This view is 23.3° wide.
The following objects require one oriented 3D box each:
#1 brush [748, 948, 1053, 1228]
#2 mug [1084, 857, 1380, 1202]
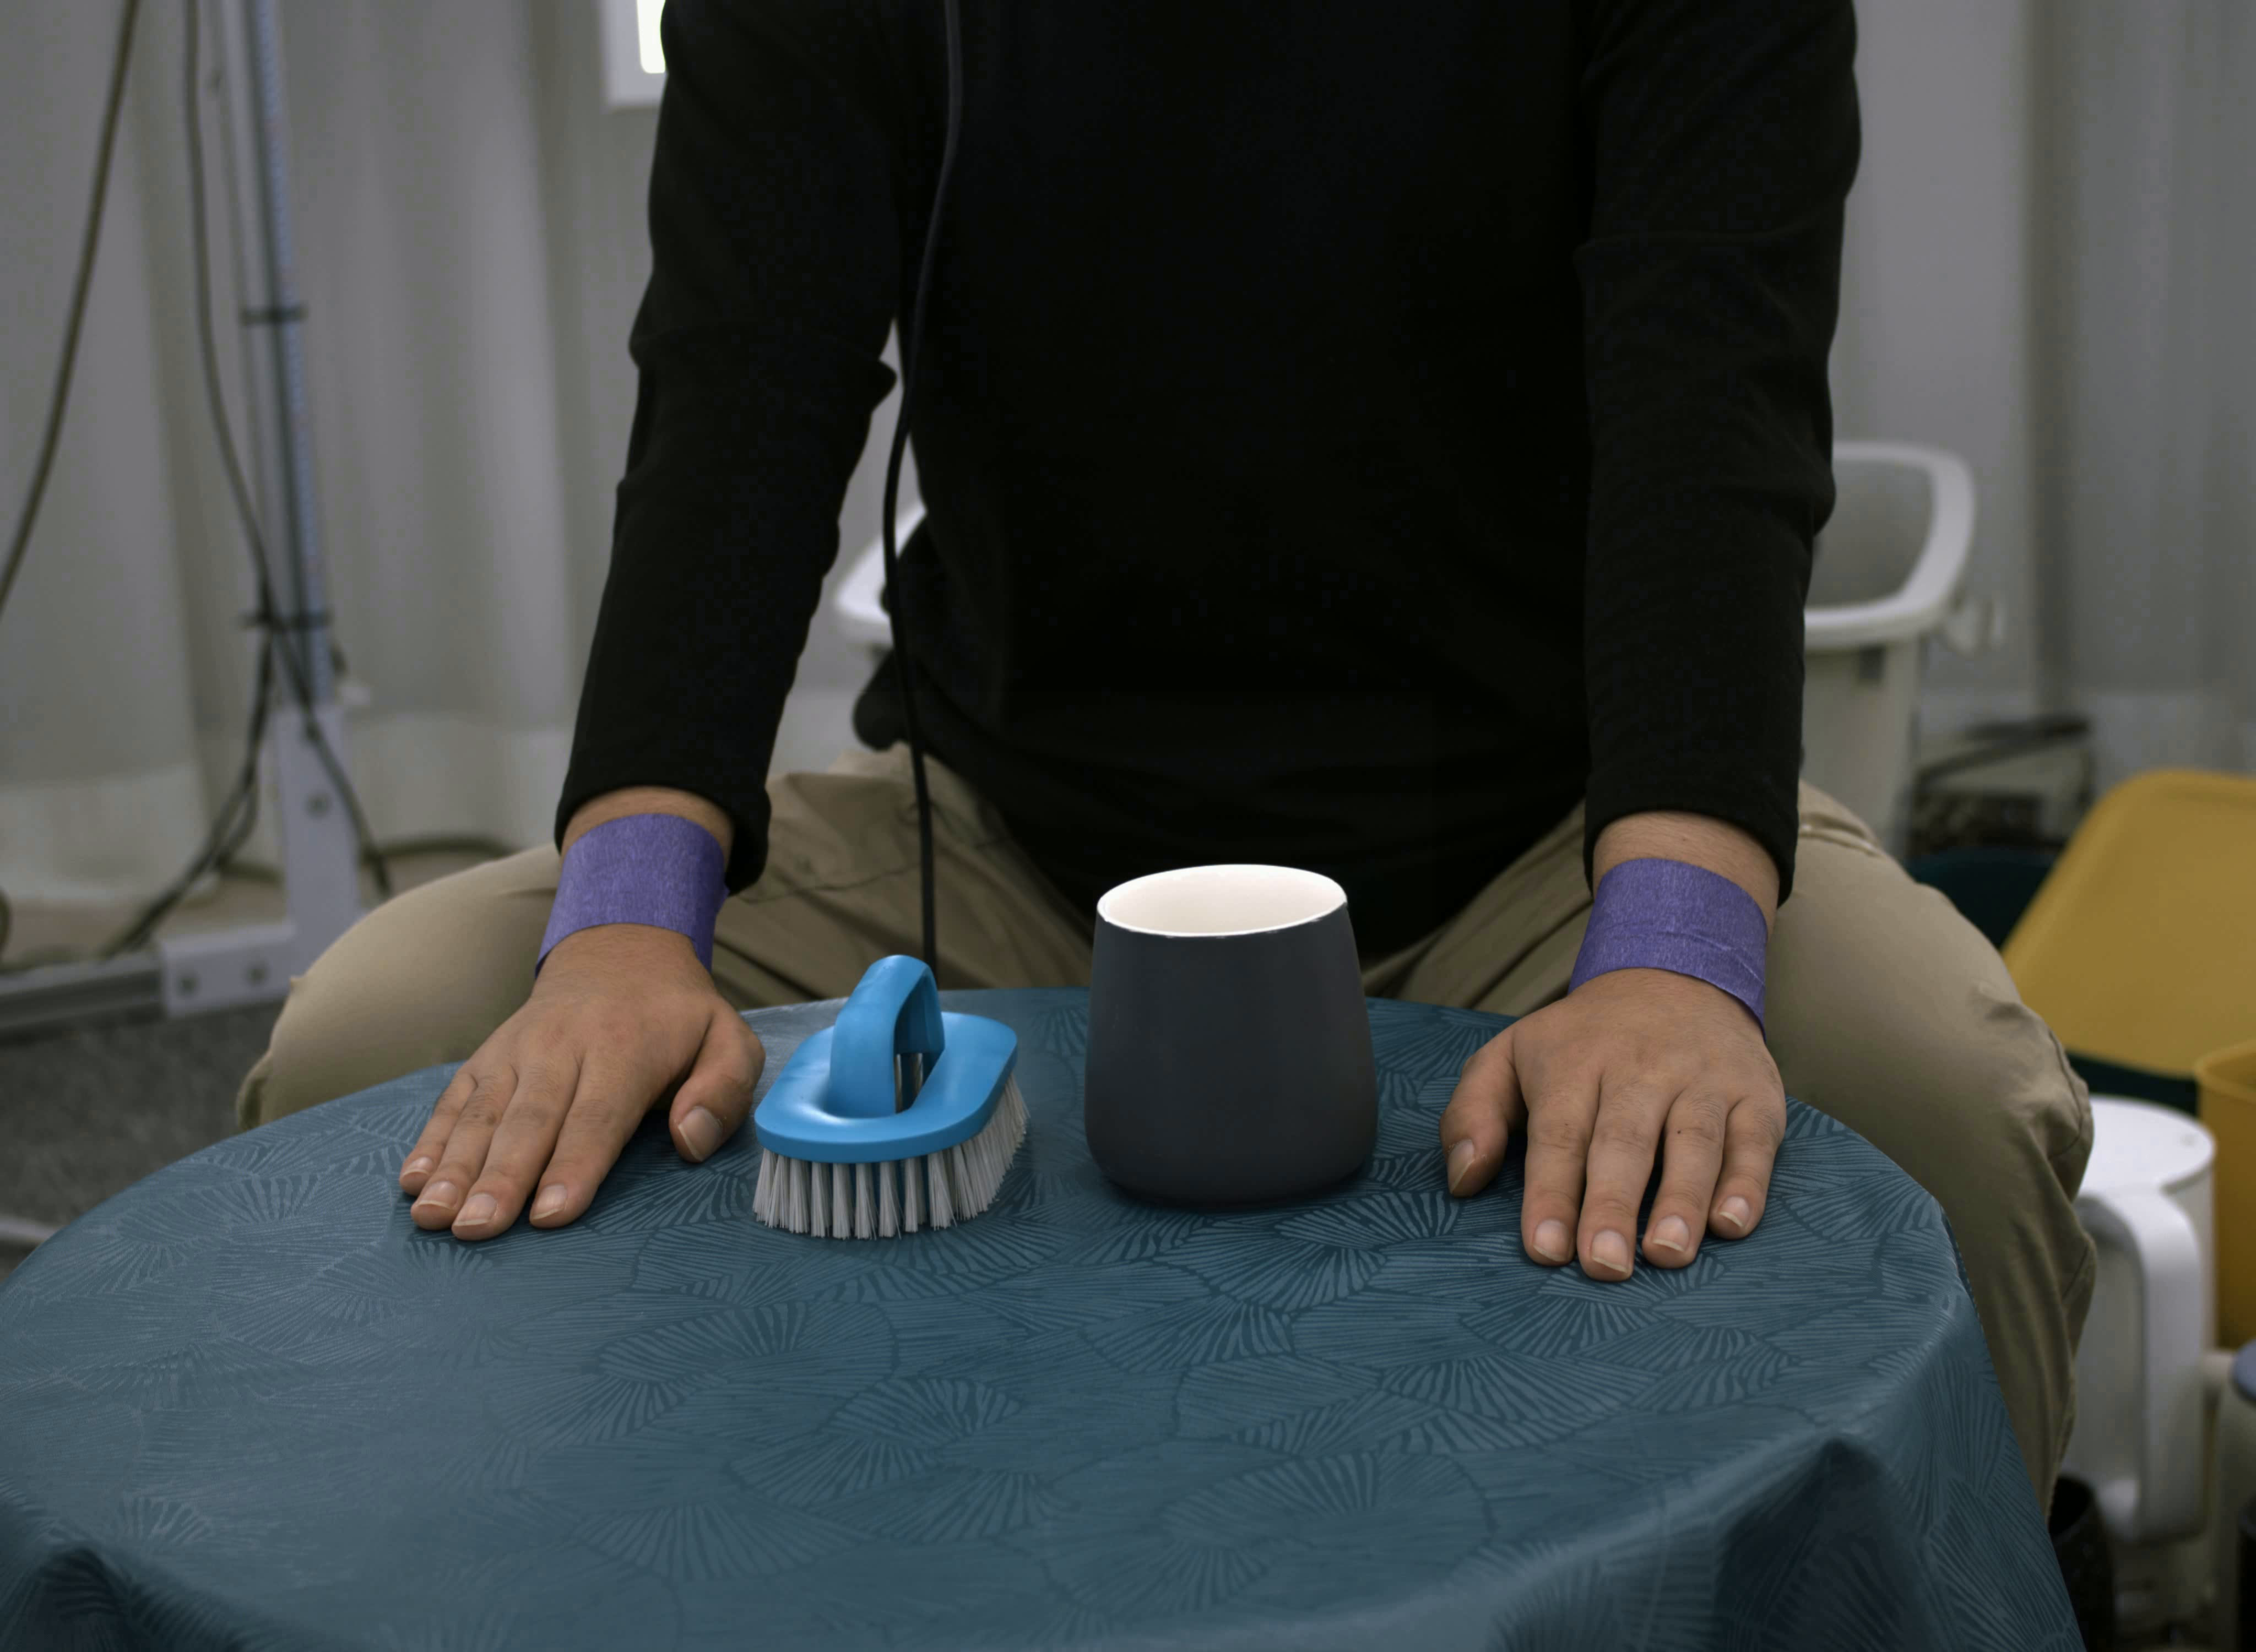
[{"bbox_3d":[-0.074,0.077,1.742,0.084,0.063,0.142,-5,13,11],"label":"brush"},{"bbox_3d":[0.035,0.060,1.732,0.093,0.089,0.124,1,17,14],"label":"mug"}]
